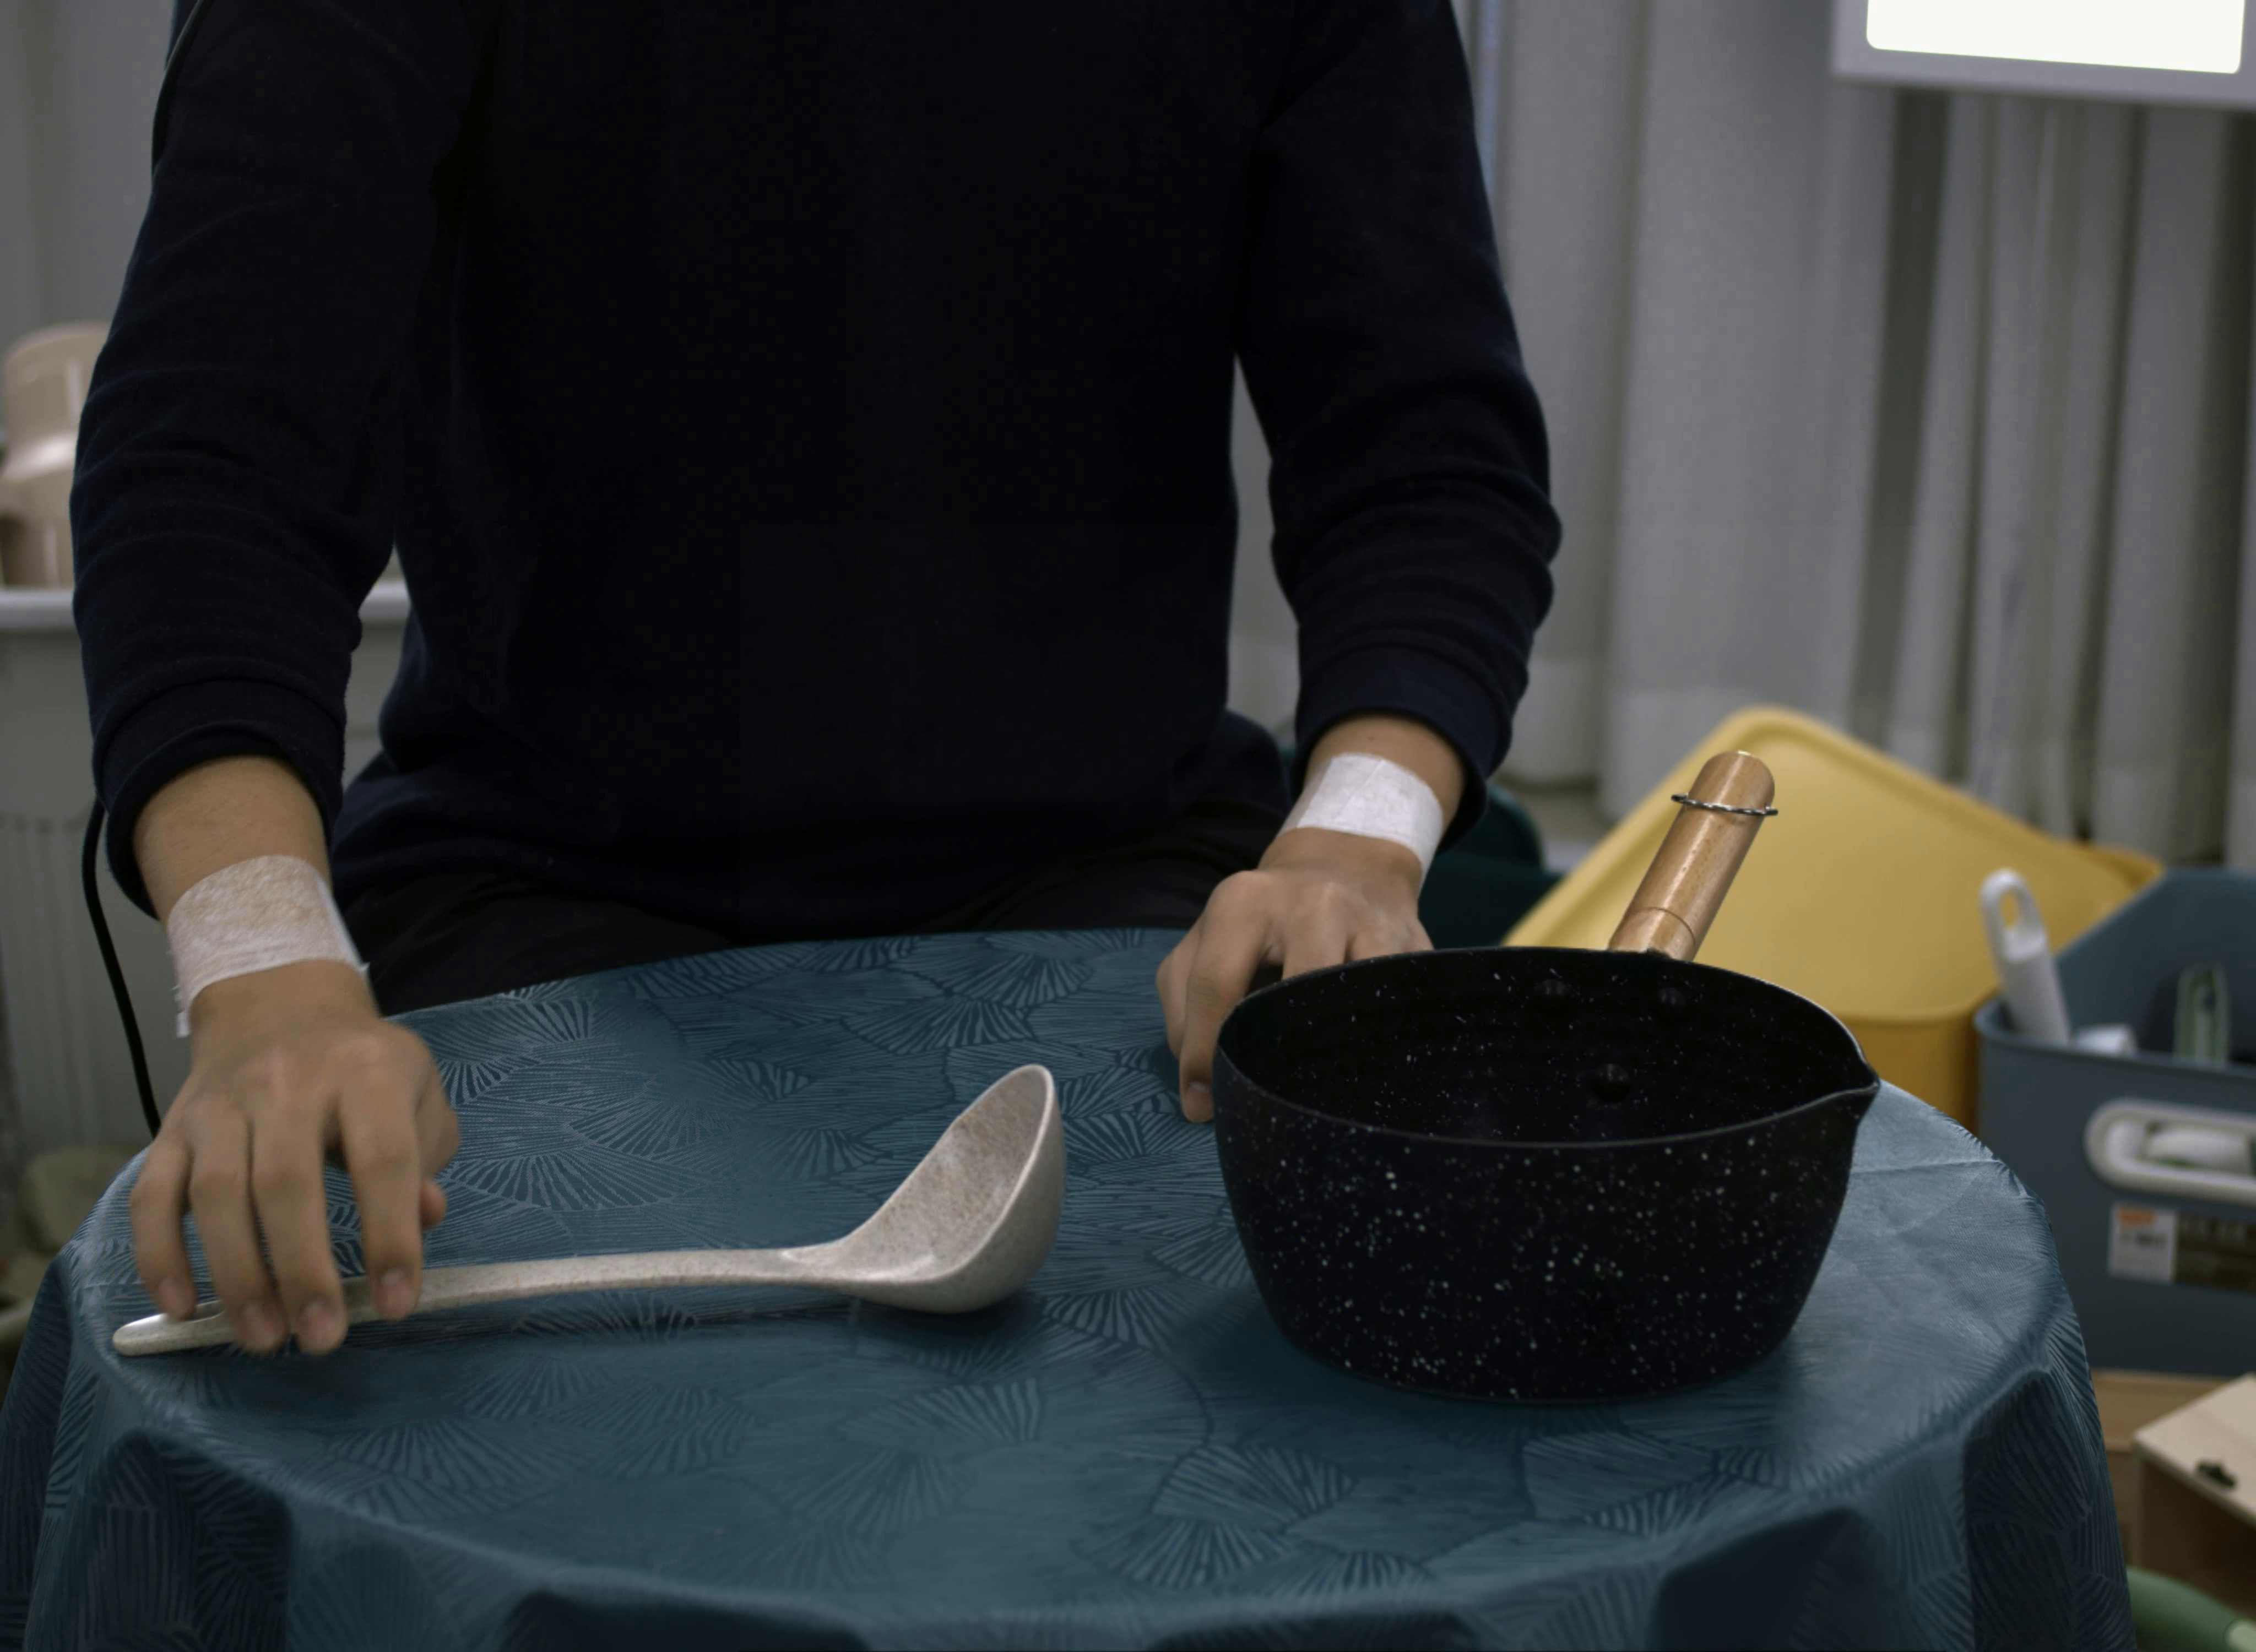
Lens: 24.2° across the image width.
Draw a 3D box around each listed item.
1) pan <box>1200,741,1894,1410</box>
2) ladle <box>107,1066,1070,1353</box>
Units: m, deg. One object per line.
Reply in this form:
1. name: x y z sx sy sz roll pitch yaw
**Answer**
1. pan: 0.141 0.069 1.580 0.205 0.109 0.343 5 18 18
2. ladle: -0.152 0.109 1.499 0.275 0.070 0.088 -2 22 -11
